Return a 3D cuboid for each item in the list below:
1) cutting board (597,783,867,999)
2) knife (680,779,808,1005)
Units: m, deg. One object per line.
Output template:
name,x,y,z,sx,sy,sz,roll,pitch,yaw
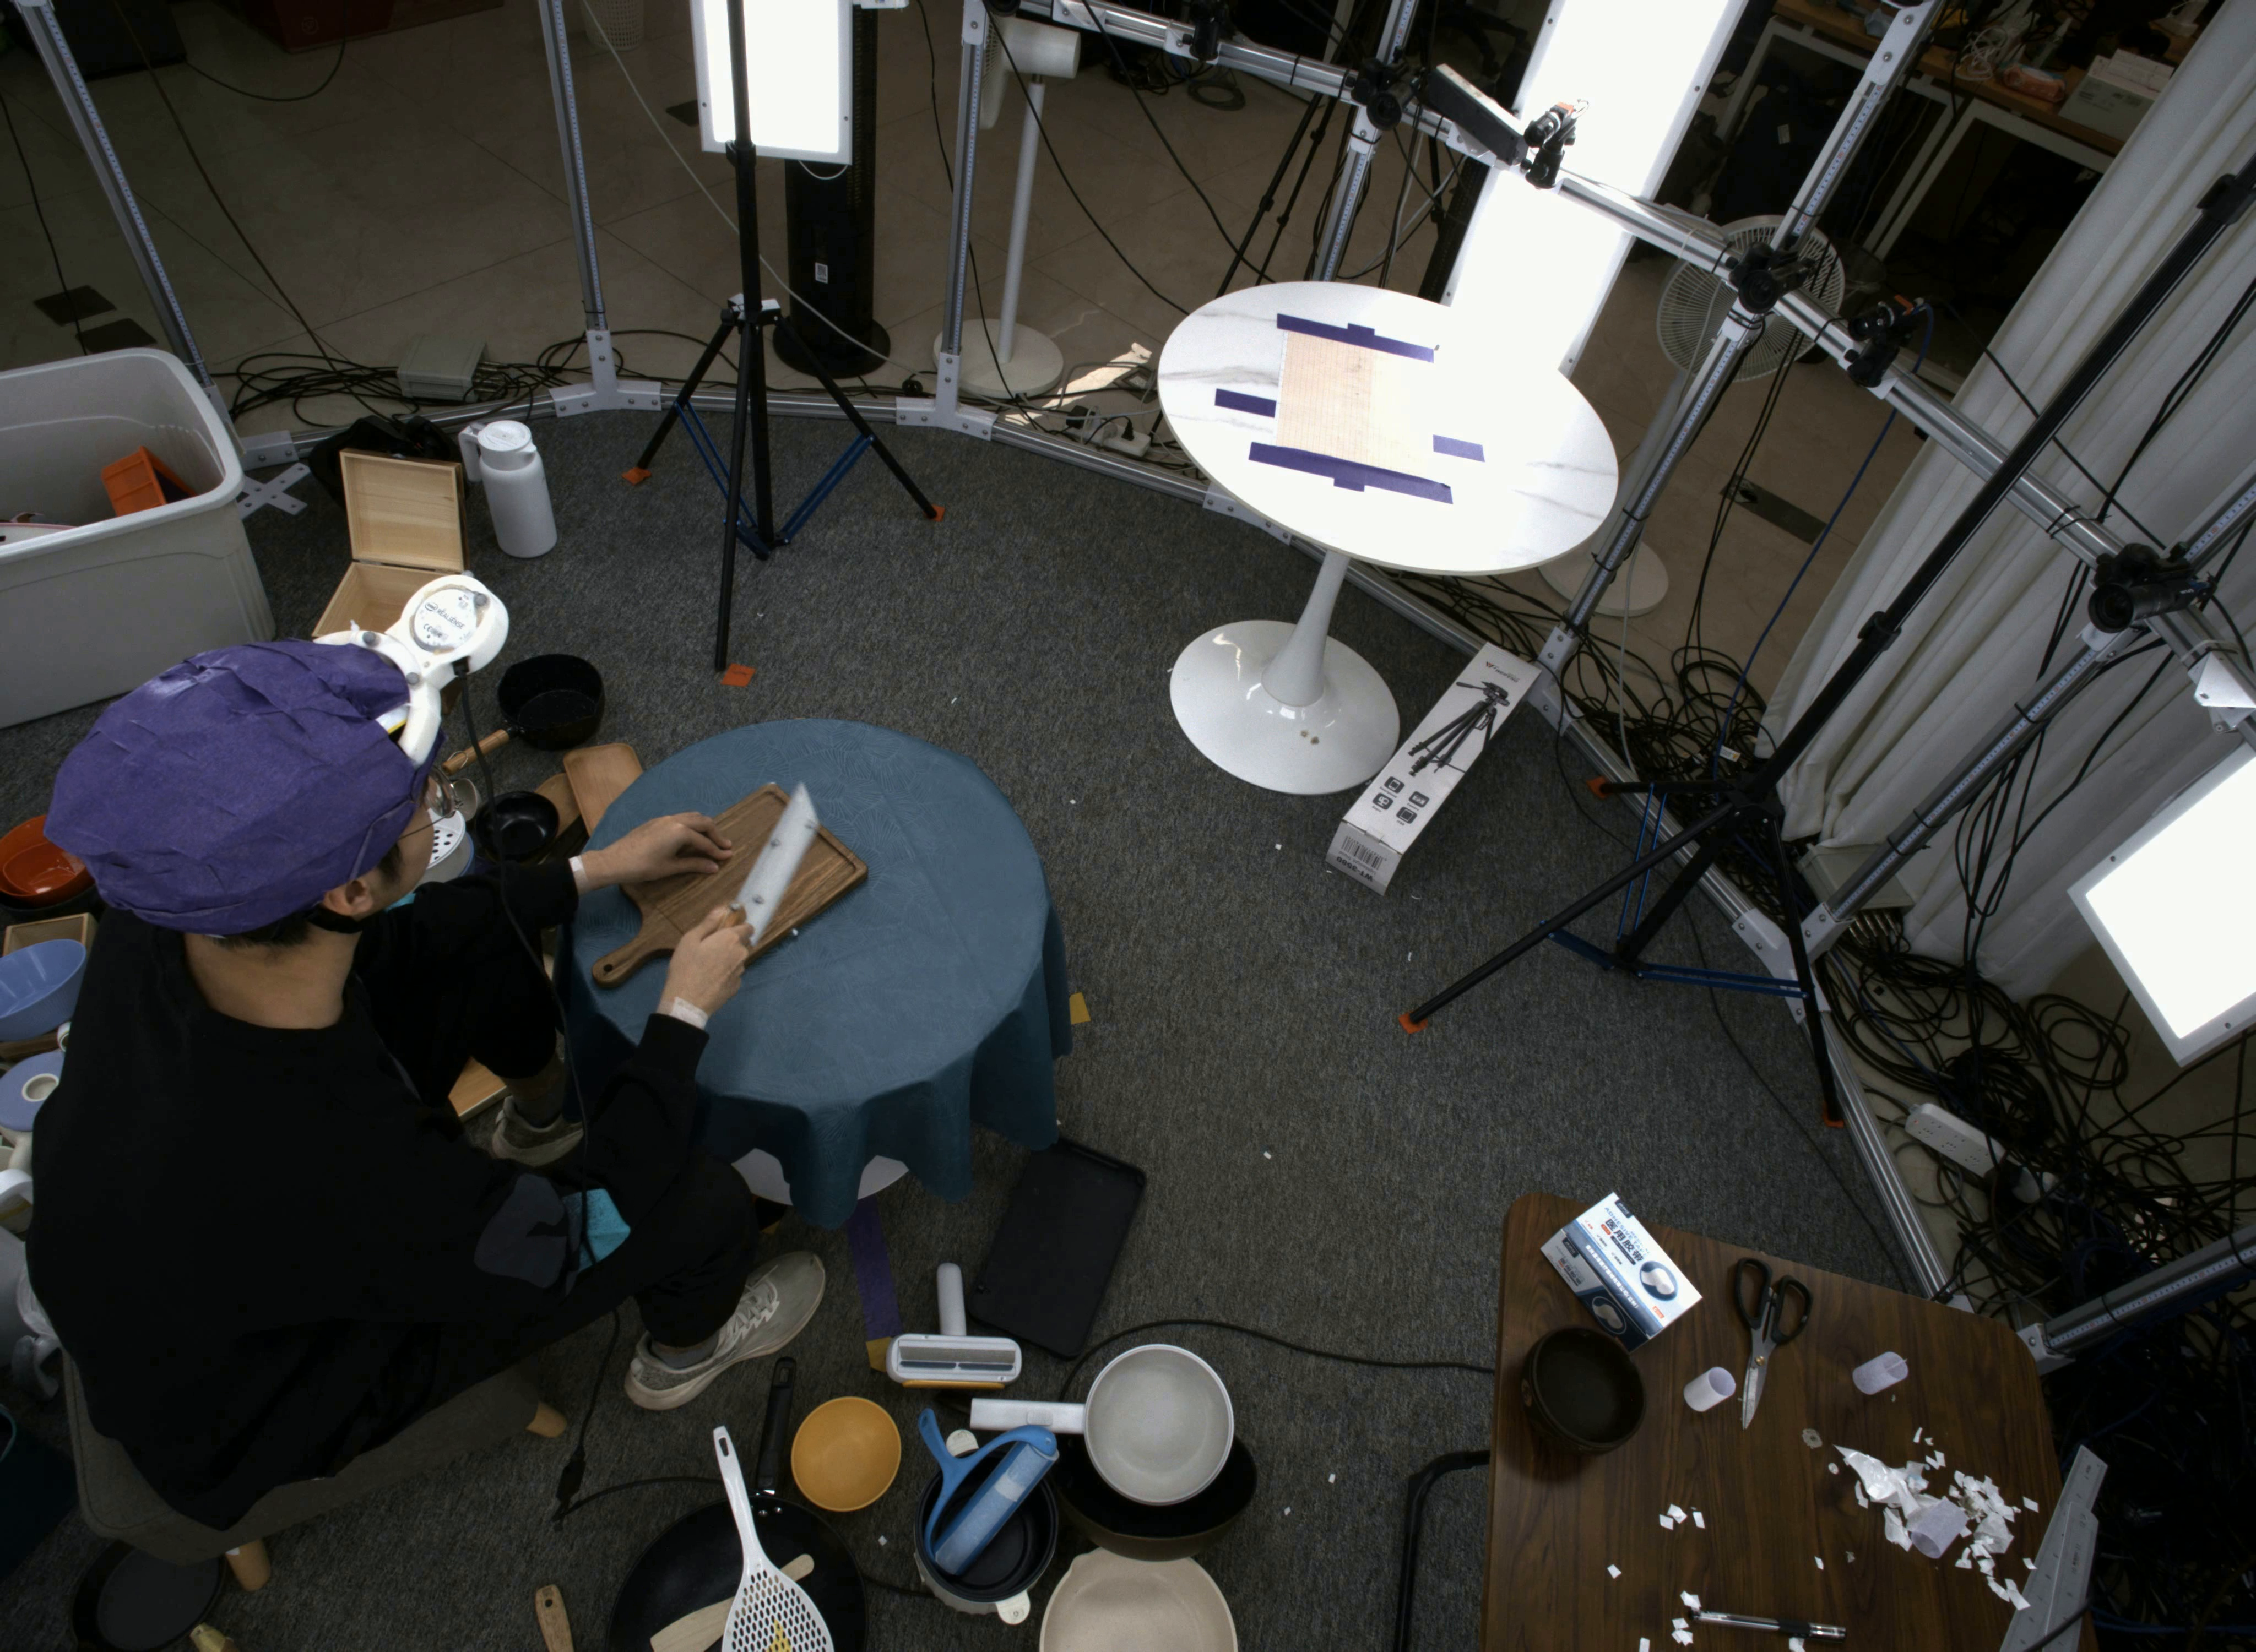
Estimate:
cutting board,-0.518,0.094,1.609,0.196,0.024,0.352,38,56,16
knife,-0.438,0.083,1.506,0.020,0.095,0.303,12,55,10
